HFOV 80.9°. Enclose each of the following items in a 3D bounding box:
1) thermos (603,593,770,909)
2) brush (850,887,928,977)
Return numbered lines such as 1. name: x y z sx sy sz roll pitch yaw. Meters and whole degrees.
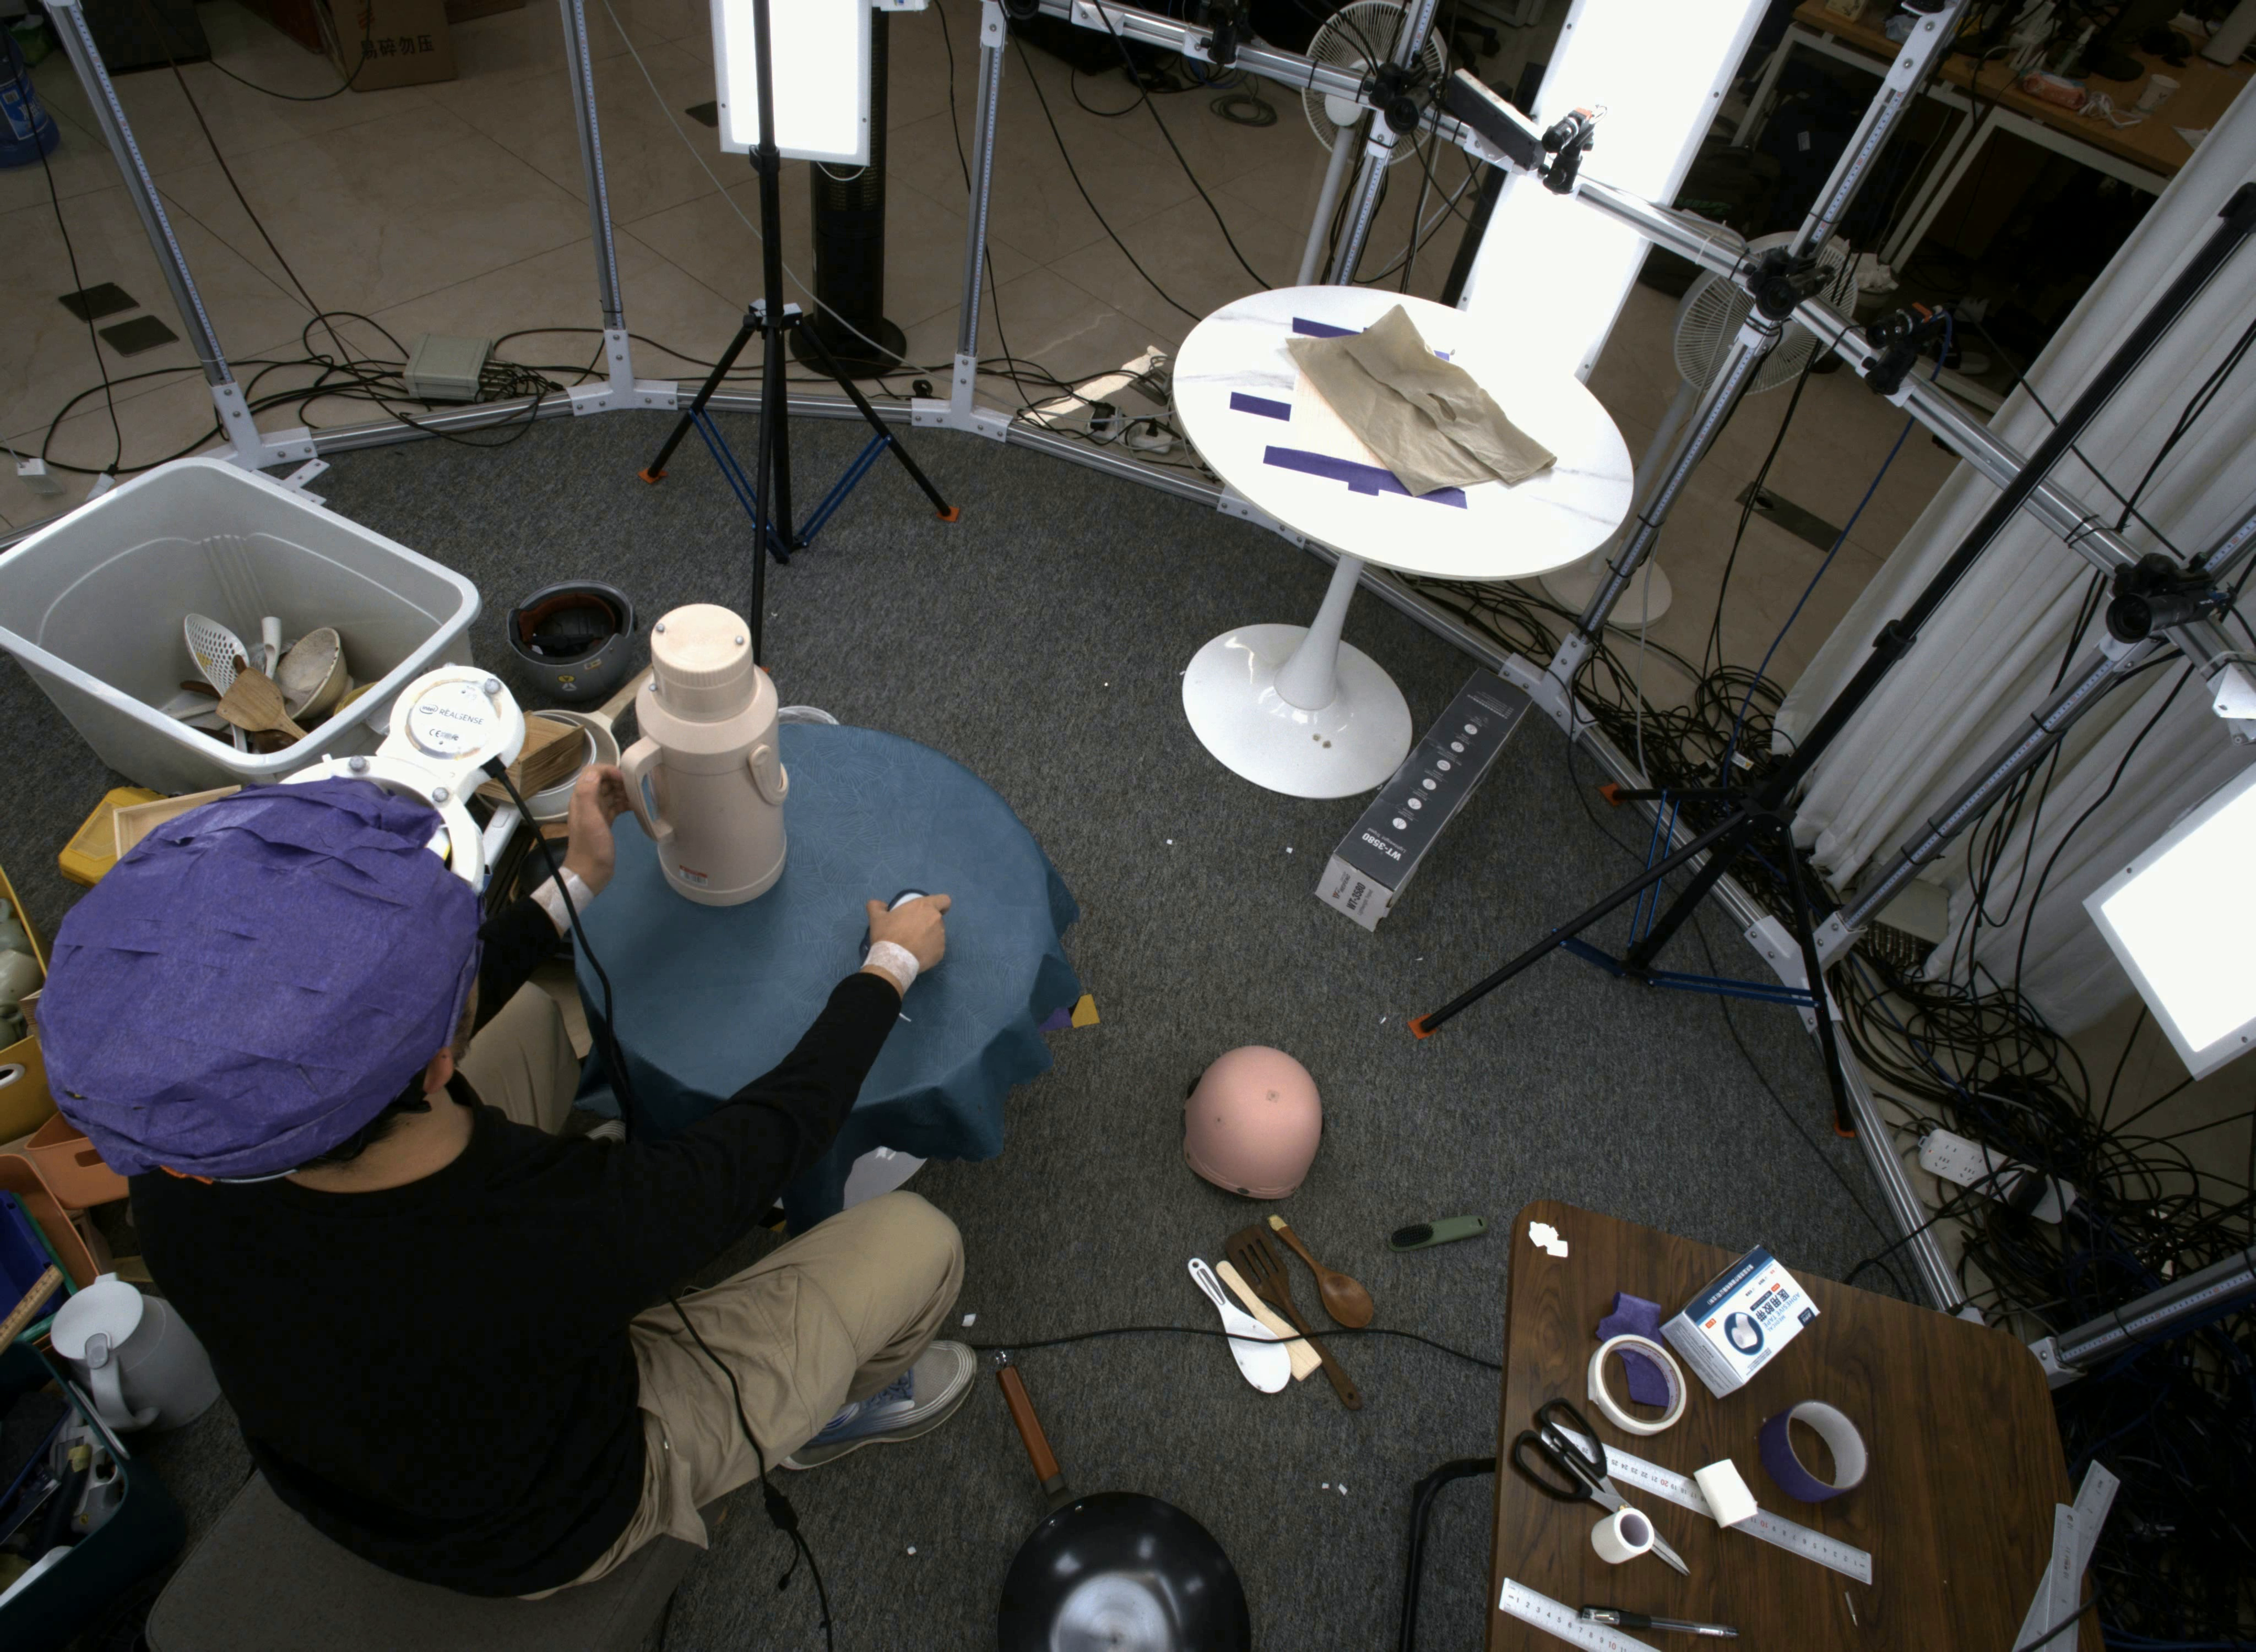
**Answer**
1. thermos: -0.517 -0.076 1.494 0.172 0.414 0.207 34 53 13
2. brush: -0.297 0.131 1.618 0.067 0.062 0.121 31 51 9
